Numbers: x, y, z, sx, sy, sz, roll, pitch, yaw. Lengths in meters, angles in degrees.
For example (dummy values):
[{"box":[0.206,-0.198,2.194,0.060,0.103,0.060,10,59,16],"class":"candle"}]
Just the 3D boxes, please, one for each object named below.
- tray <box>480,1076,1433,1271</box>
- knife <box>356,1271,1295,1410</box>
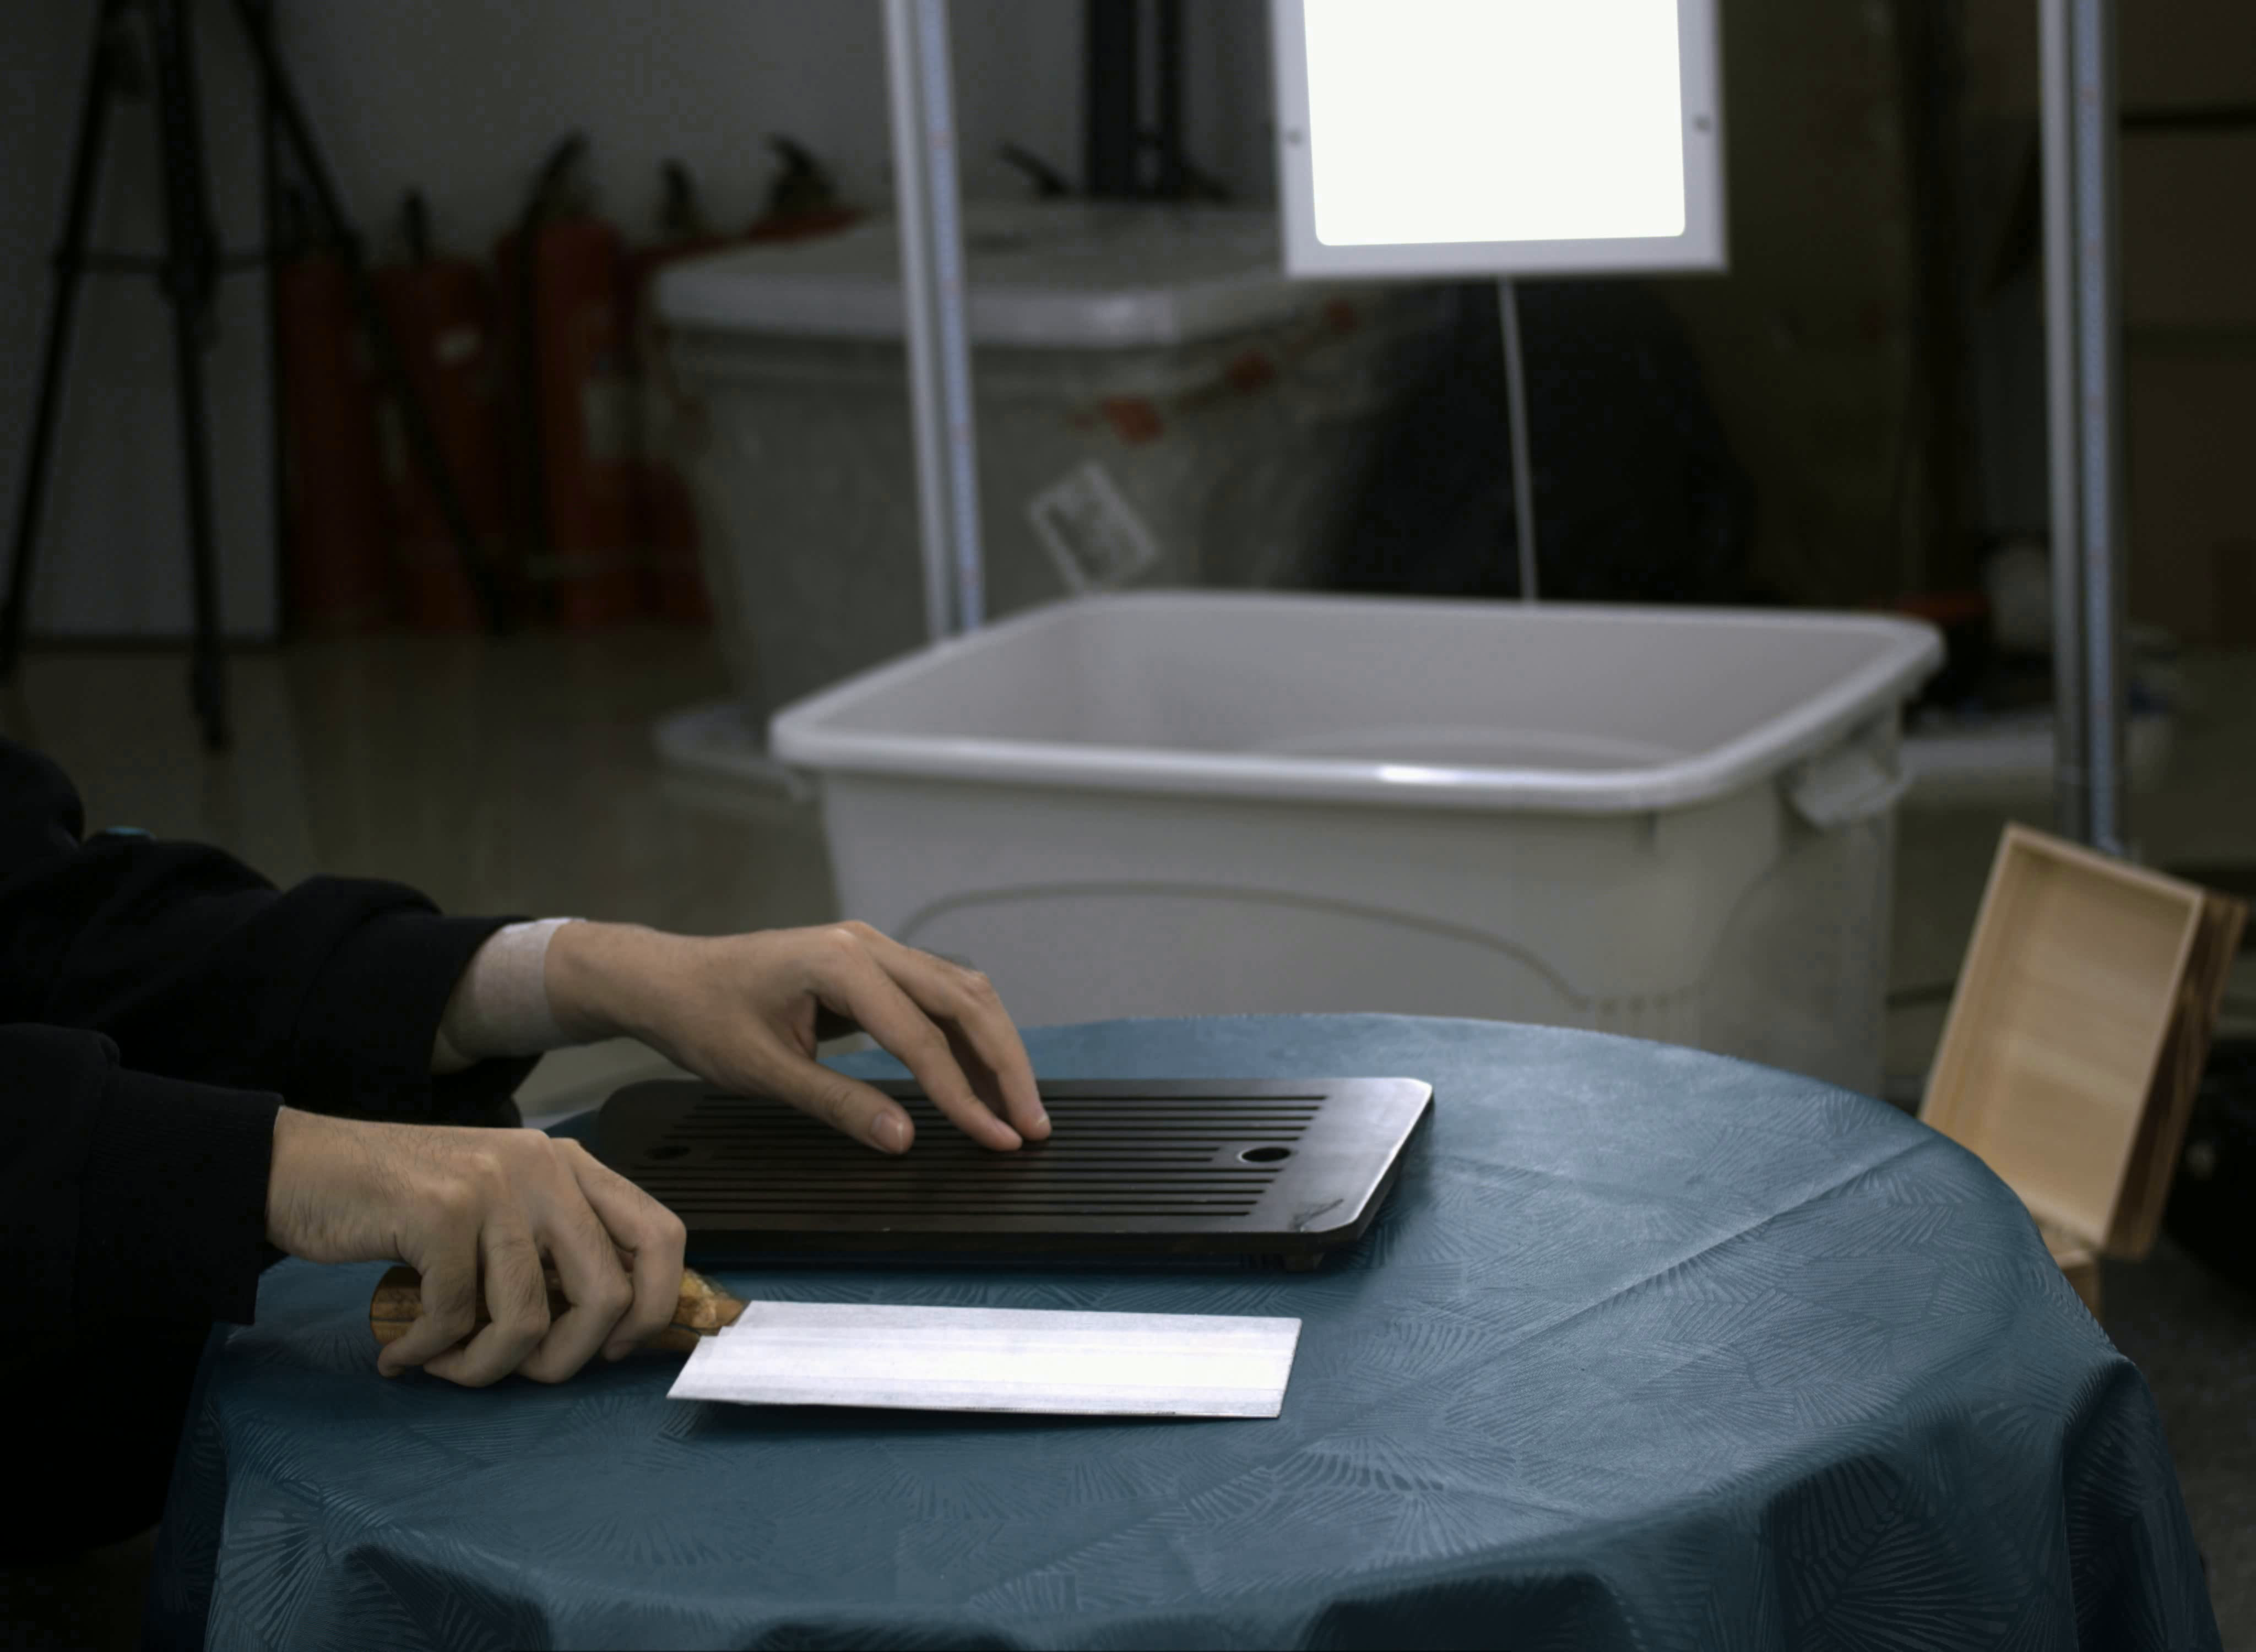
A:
[{"box":[-0.056,0.119,1.908,0.309,0.019,0.167,-1,15,17],"class":"tray"},{"box":[-0.099,0.164,1.732,0.307,0.021,0.092,1,15,9],"class":"knife"}]
